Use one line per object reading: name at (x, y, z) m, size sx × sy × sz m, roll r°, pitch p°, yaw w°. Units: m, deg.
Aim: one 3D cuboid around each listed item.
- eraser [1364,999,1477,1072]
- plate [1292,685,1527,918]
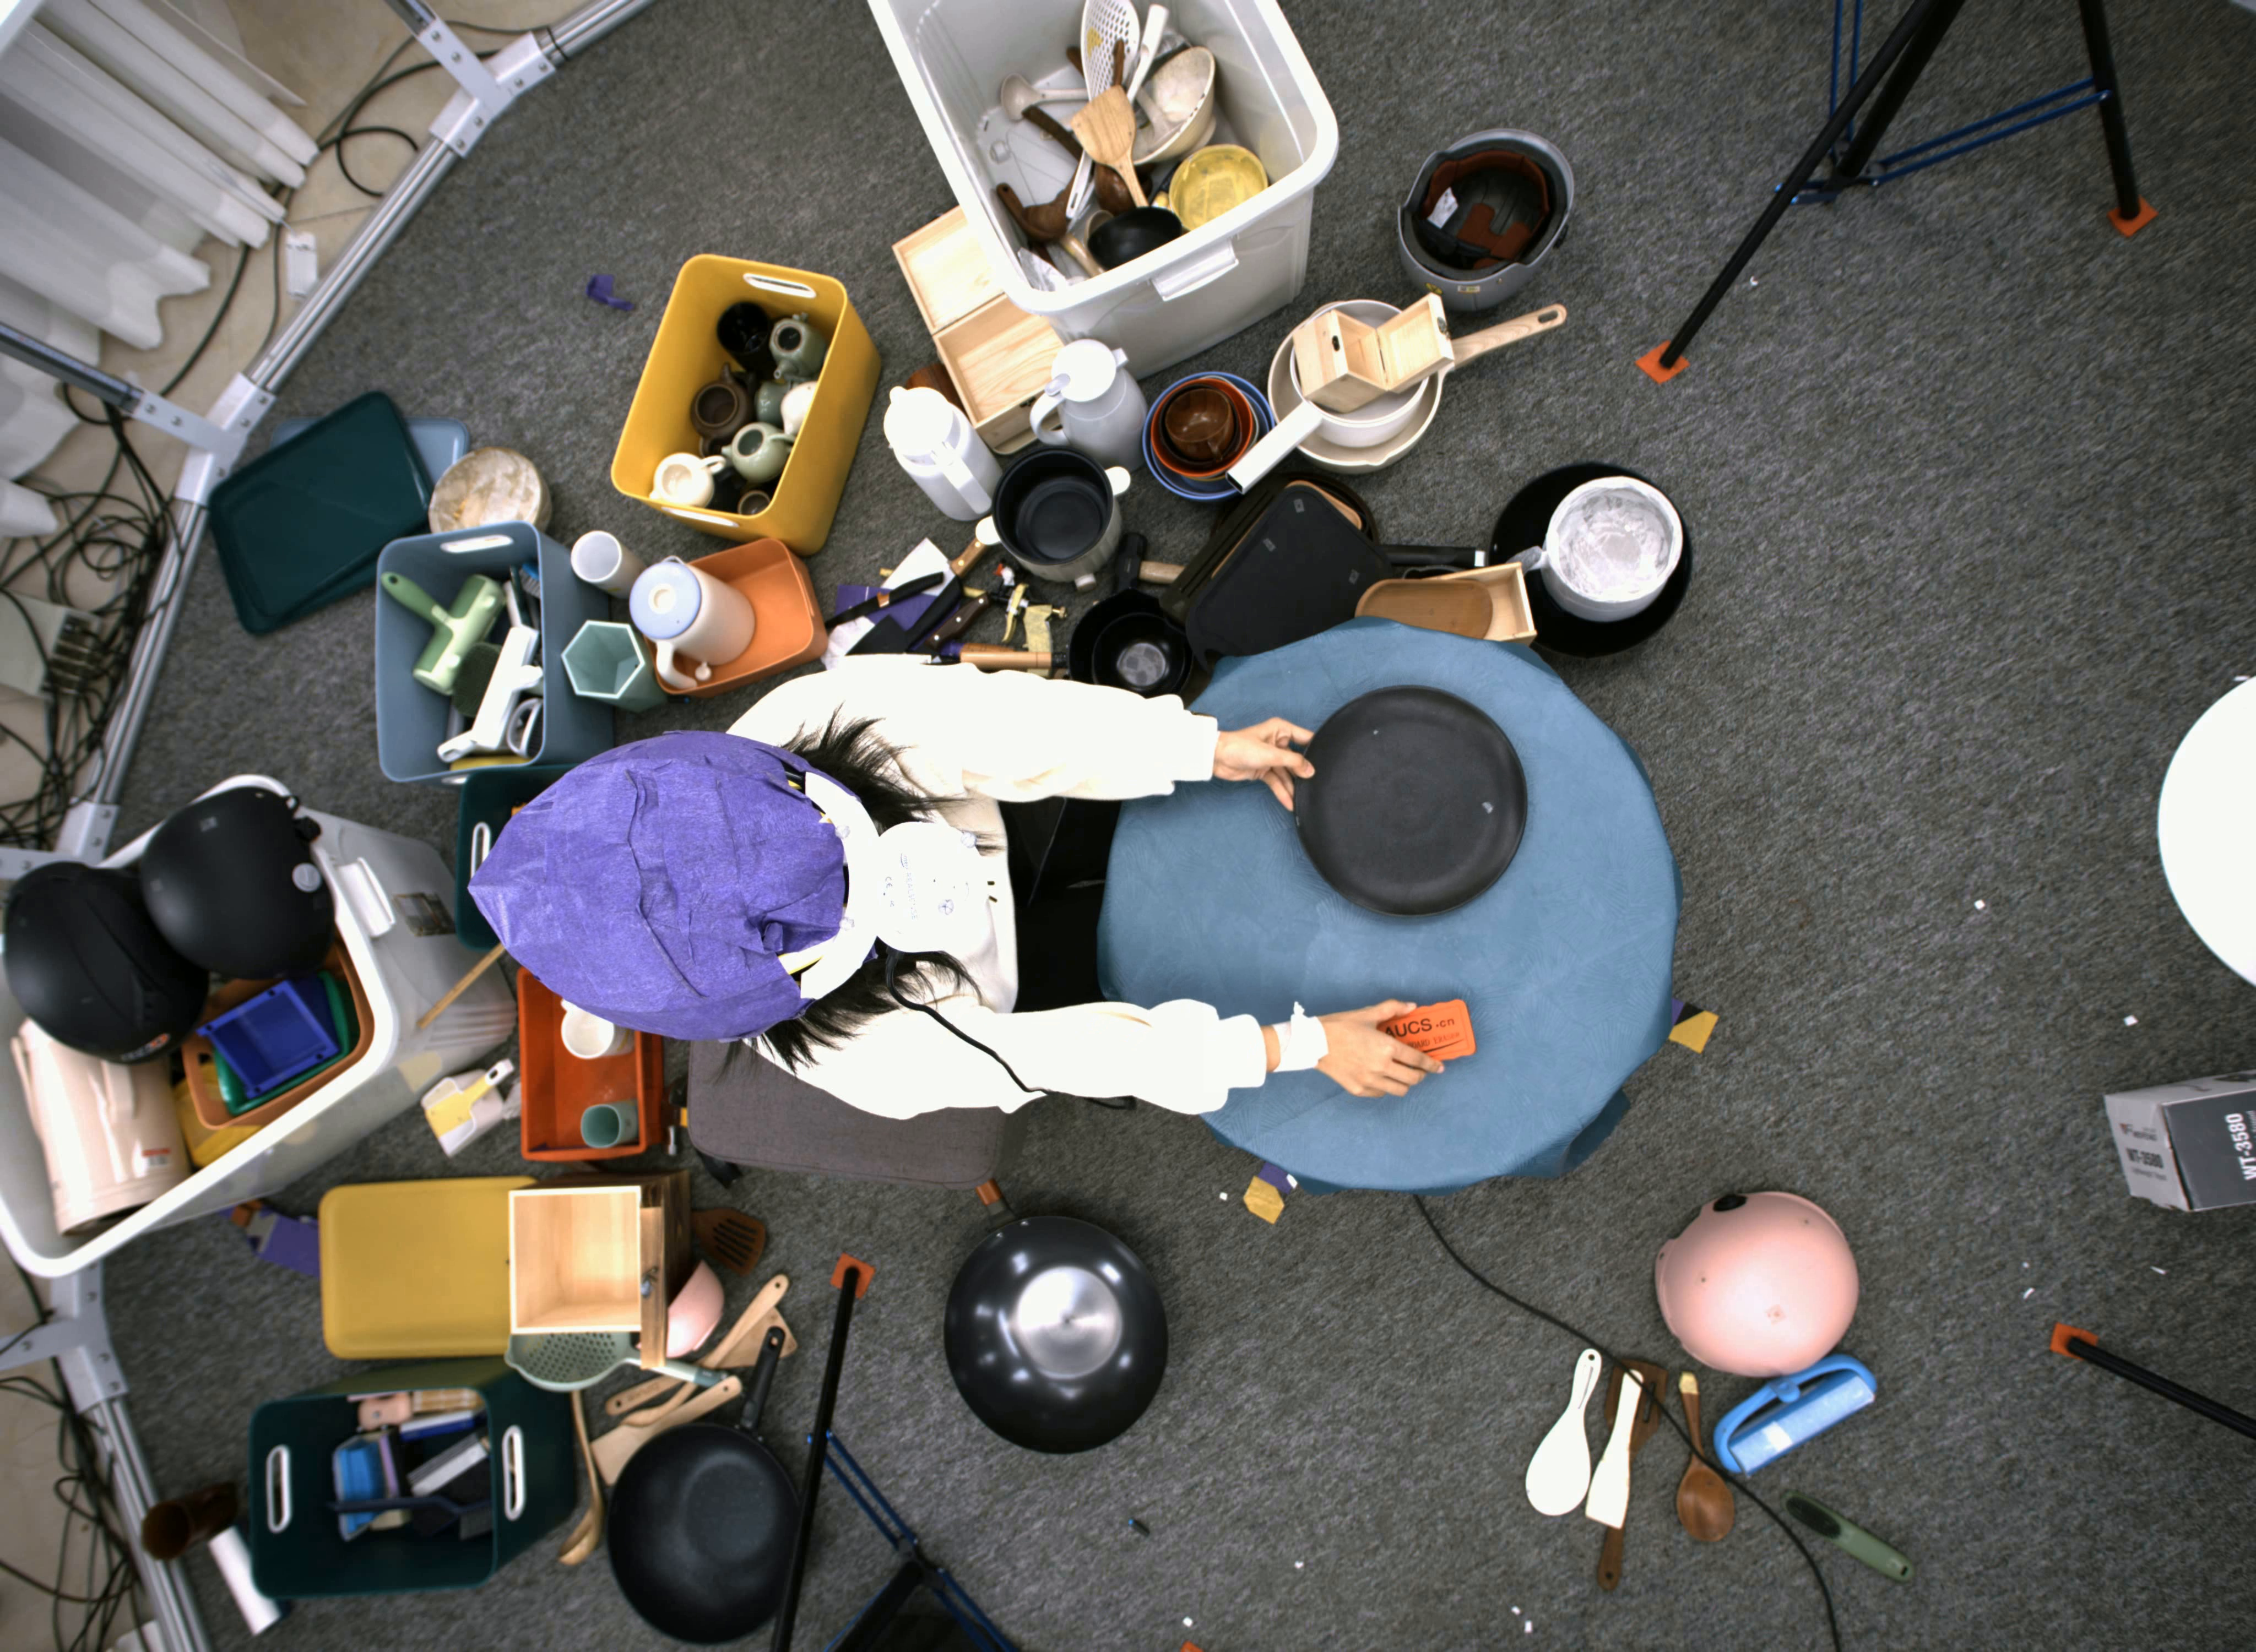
eraser at (0.299, 0.214, 1.418) m, size 0.109 × 0.023 × 0.058 m, roll -14°, pitch 79°, yaw 16°
plate at (0.293, -0.028, 1.438) m, size 0.245 × 0.023 × 0.244 m, roll 0°, pitch 90°, yaw 4°
